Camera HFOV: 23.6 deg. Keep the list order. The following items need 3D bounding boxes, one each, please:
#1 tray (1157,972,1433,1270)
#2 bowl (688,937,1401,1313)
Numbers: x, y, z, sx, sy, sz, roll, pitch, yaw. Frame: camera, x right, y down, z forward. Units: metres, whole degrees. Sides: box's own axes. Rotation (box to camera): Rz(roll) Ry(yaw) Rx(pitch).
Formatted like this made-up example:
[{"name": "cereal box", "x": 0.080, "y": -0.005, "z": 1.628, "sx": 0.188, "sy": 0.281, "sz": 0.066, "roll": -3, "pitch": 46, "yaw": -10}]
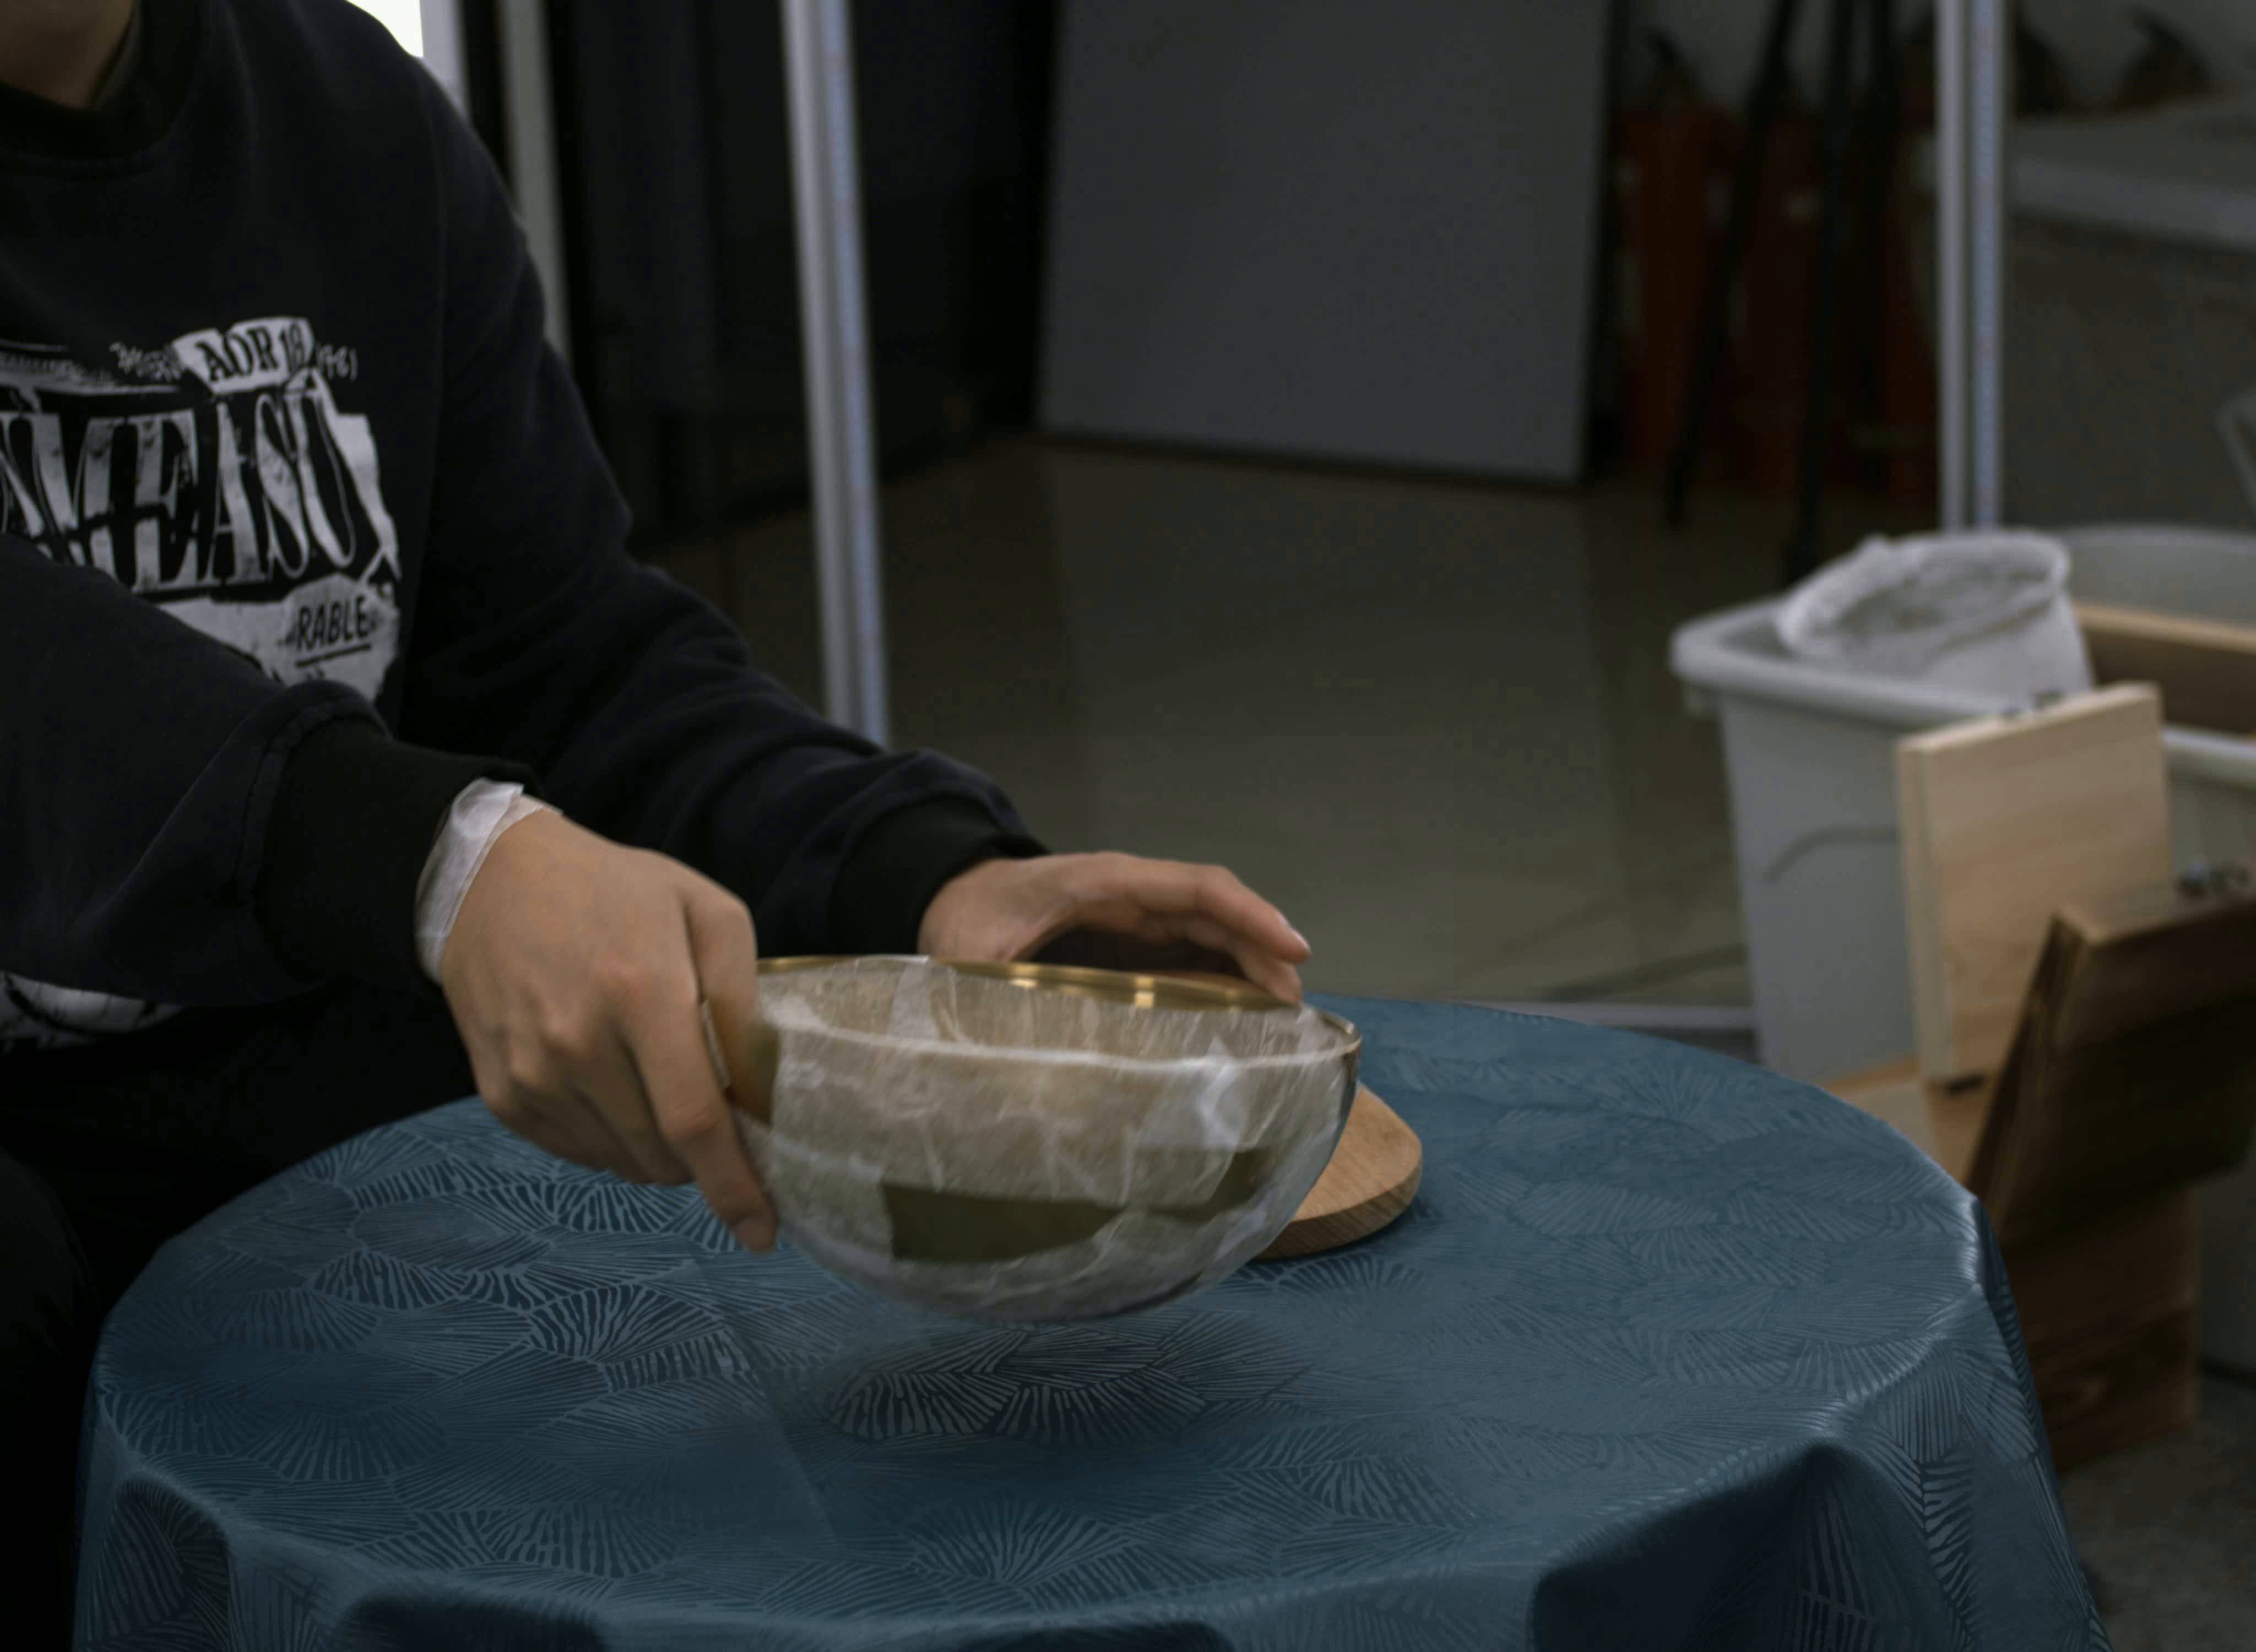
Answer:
[{"name": "tray", "x": 0.027, "y": 0.096, "z": 1.792, "sx": 0.100, "sy": 0.020, "sz": 0.233, "roll": -15, "pitch": 23, "yaw": -15}, {"name": "bowl", "x": -0.029, "y": 0.091, "z": 1.584, "sx": 0.212, "sy": 0.096, "sz": 0.215, "roll": 3, "pitch": 5, "yaw": -1}]
